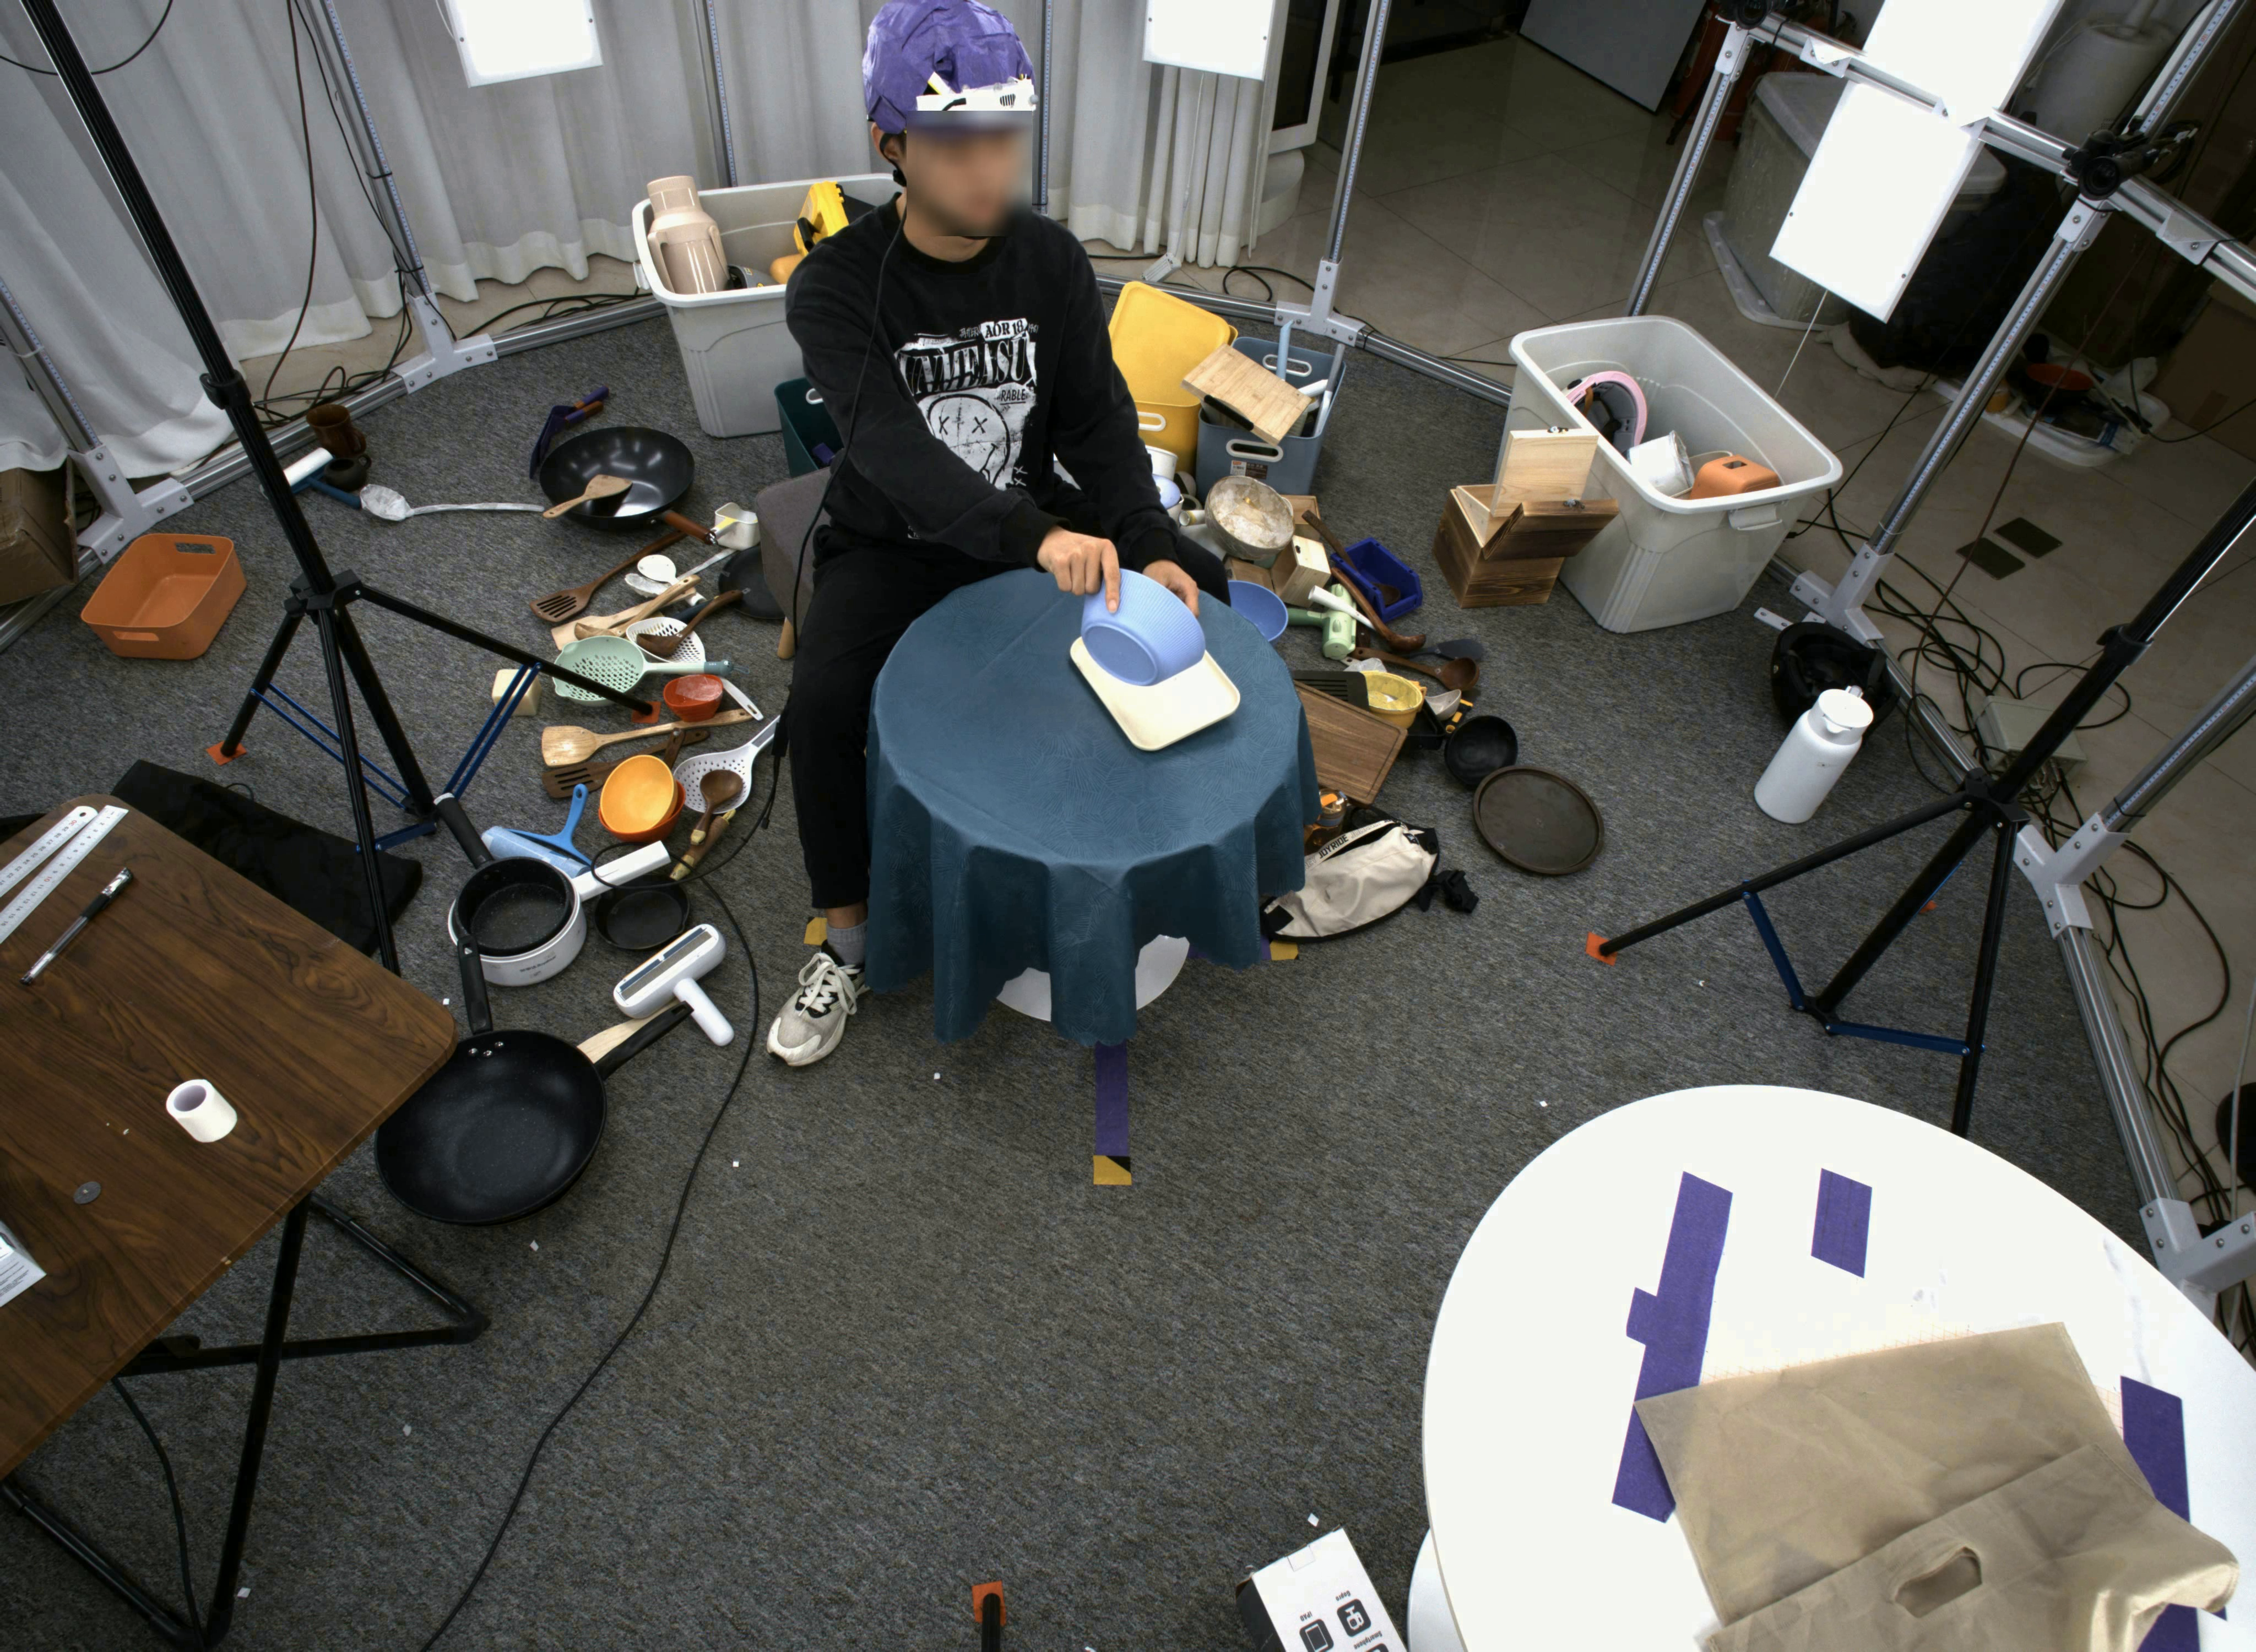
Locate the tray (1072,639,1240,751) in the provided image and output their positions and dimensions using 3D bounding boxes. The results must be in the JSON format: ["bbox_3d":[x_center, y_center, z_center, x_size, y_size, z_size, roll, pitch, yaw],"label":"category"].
[{"bbox_3d":[0.038,-0.212,1.844,0.172,0.017,0.245,-26,55,-13],"label":"tray"}]

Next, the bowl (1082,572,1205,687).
[{"bbox_3d":[0.007,-0.241,1.653,0.177,0.172,0.071,26,65,17],"label":"bowl"}]
